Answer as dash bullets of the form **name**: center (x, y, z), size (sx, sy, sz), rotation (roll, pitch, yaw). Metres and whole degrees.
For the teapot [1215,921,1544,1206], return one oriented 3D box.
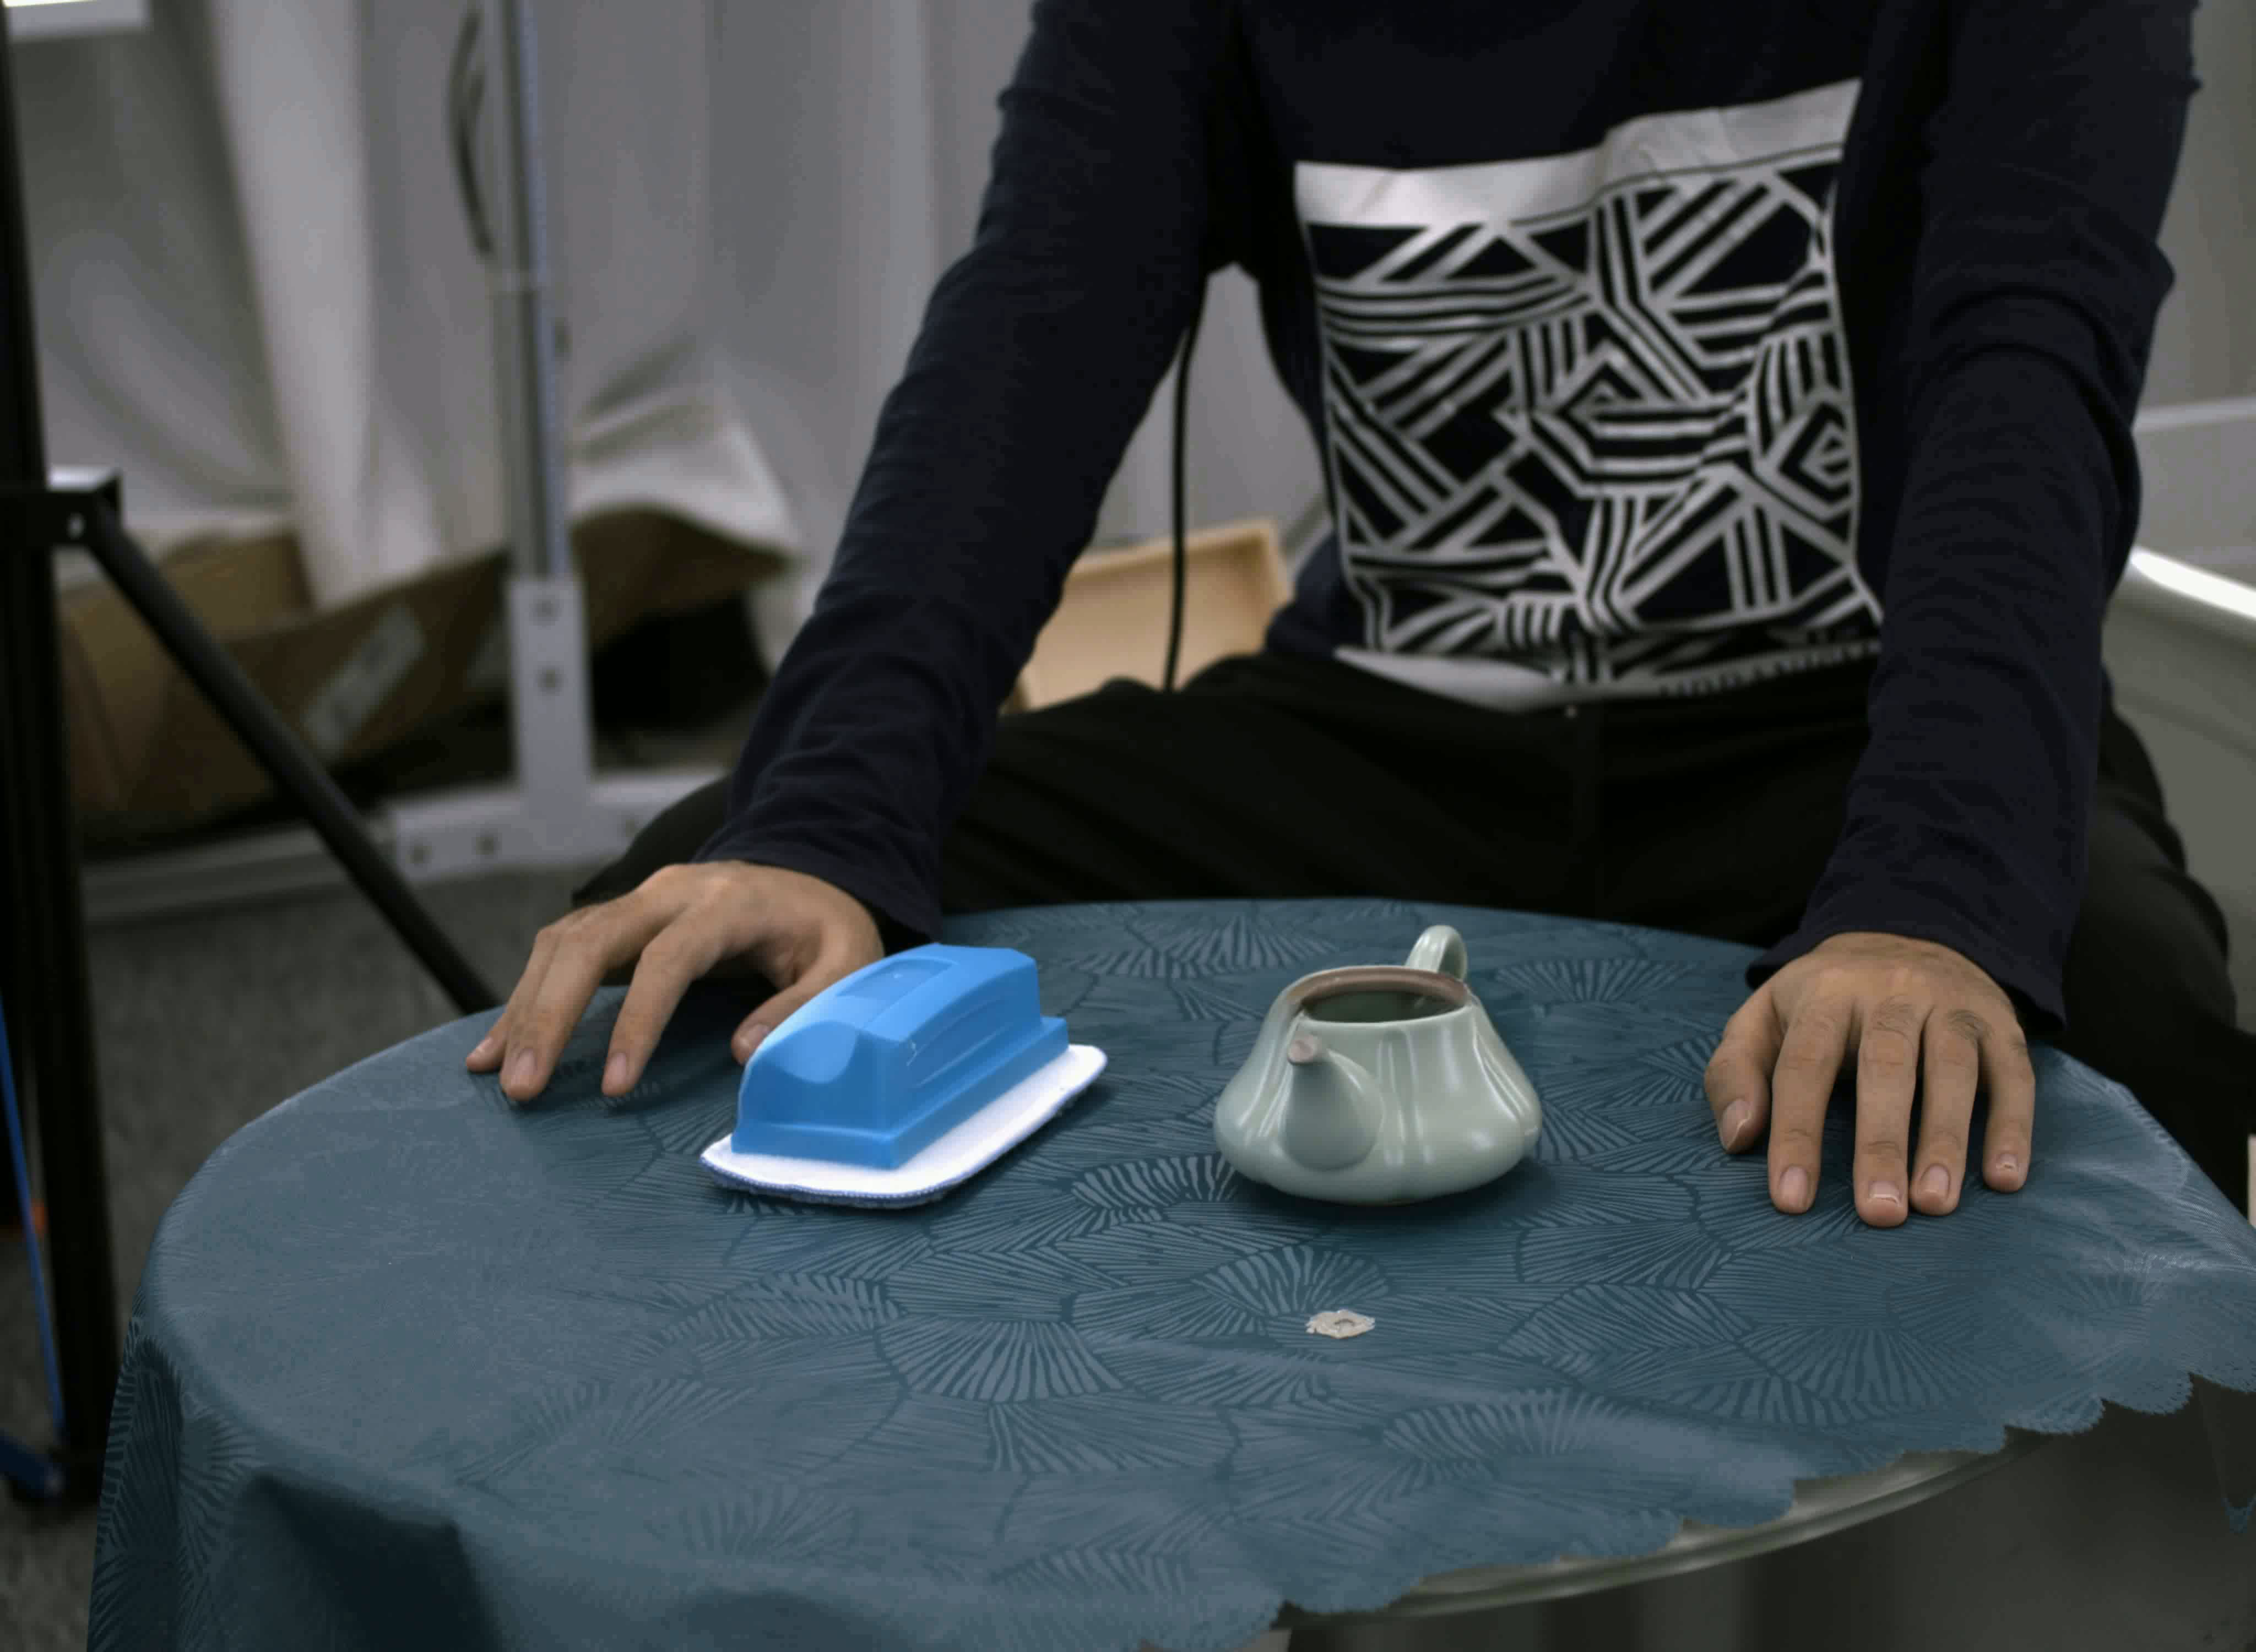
- **teapot**: center (0.075, 0.073, 1.561), size (0.097, 0.061, 0.135), rotation (2, 17, 22)

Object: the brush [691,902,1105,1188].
- **brush**: center (-0.068, 0.063, 1.618), size (0.085, 0.056, 0.142), rotation (9, 22, 26)
